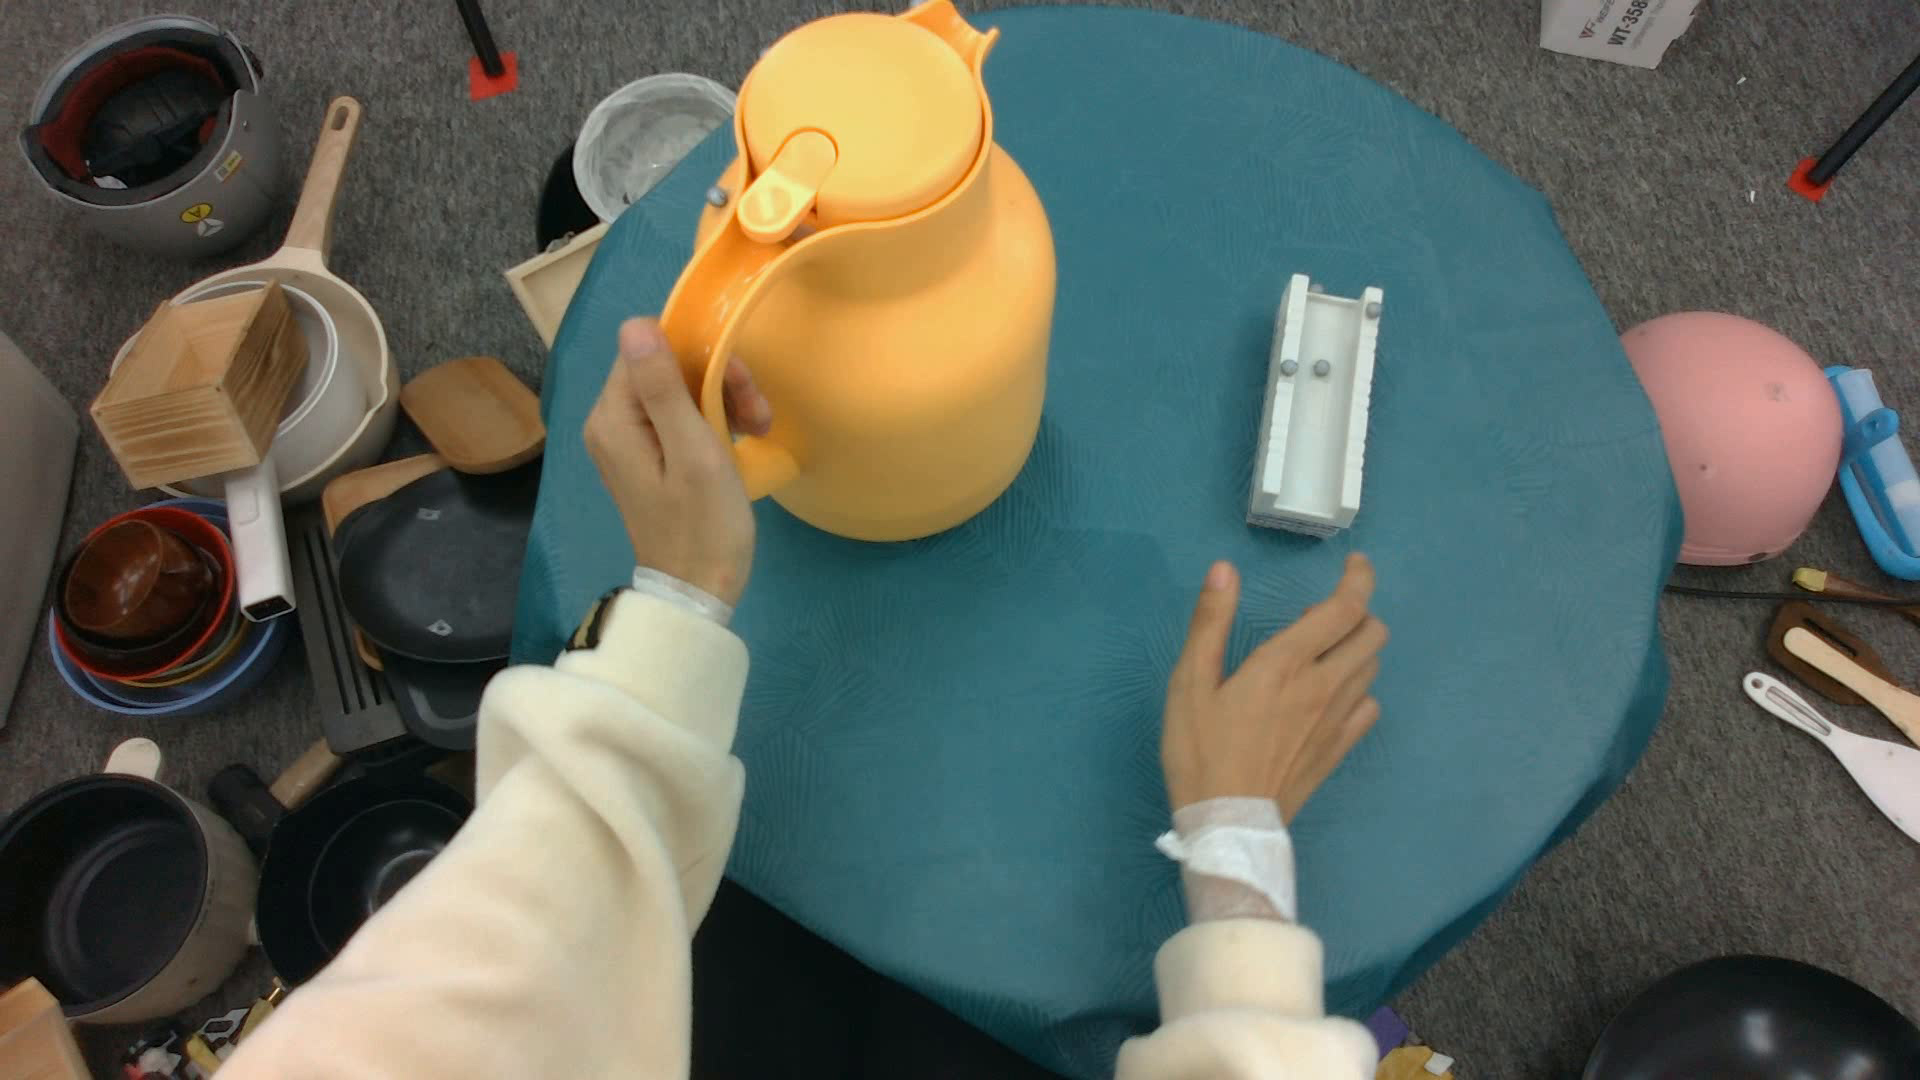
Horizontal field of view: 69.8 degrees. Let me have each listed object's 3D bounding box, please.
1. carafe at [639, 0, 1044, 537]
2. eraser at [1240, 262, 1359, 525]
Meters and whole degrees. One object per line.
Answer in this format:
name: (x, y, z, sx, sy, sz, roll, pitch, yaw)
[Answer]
carafe: (-0.056, -0.105, 0.615, 0.163, 0.259, 0.203, 34, 69, 15)
eraser: (0.179, -0.078, 0.730, 0.050, 0.046, 0.135, 10, 66, -1)
